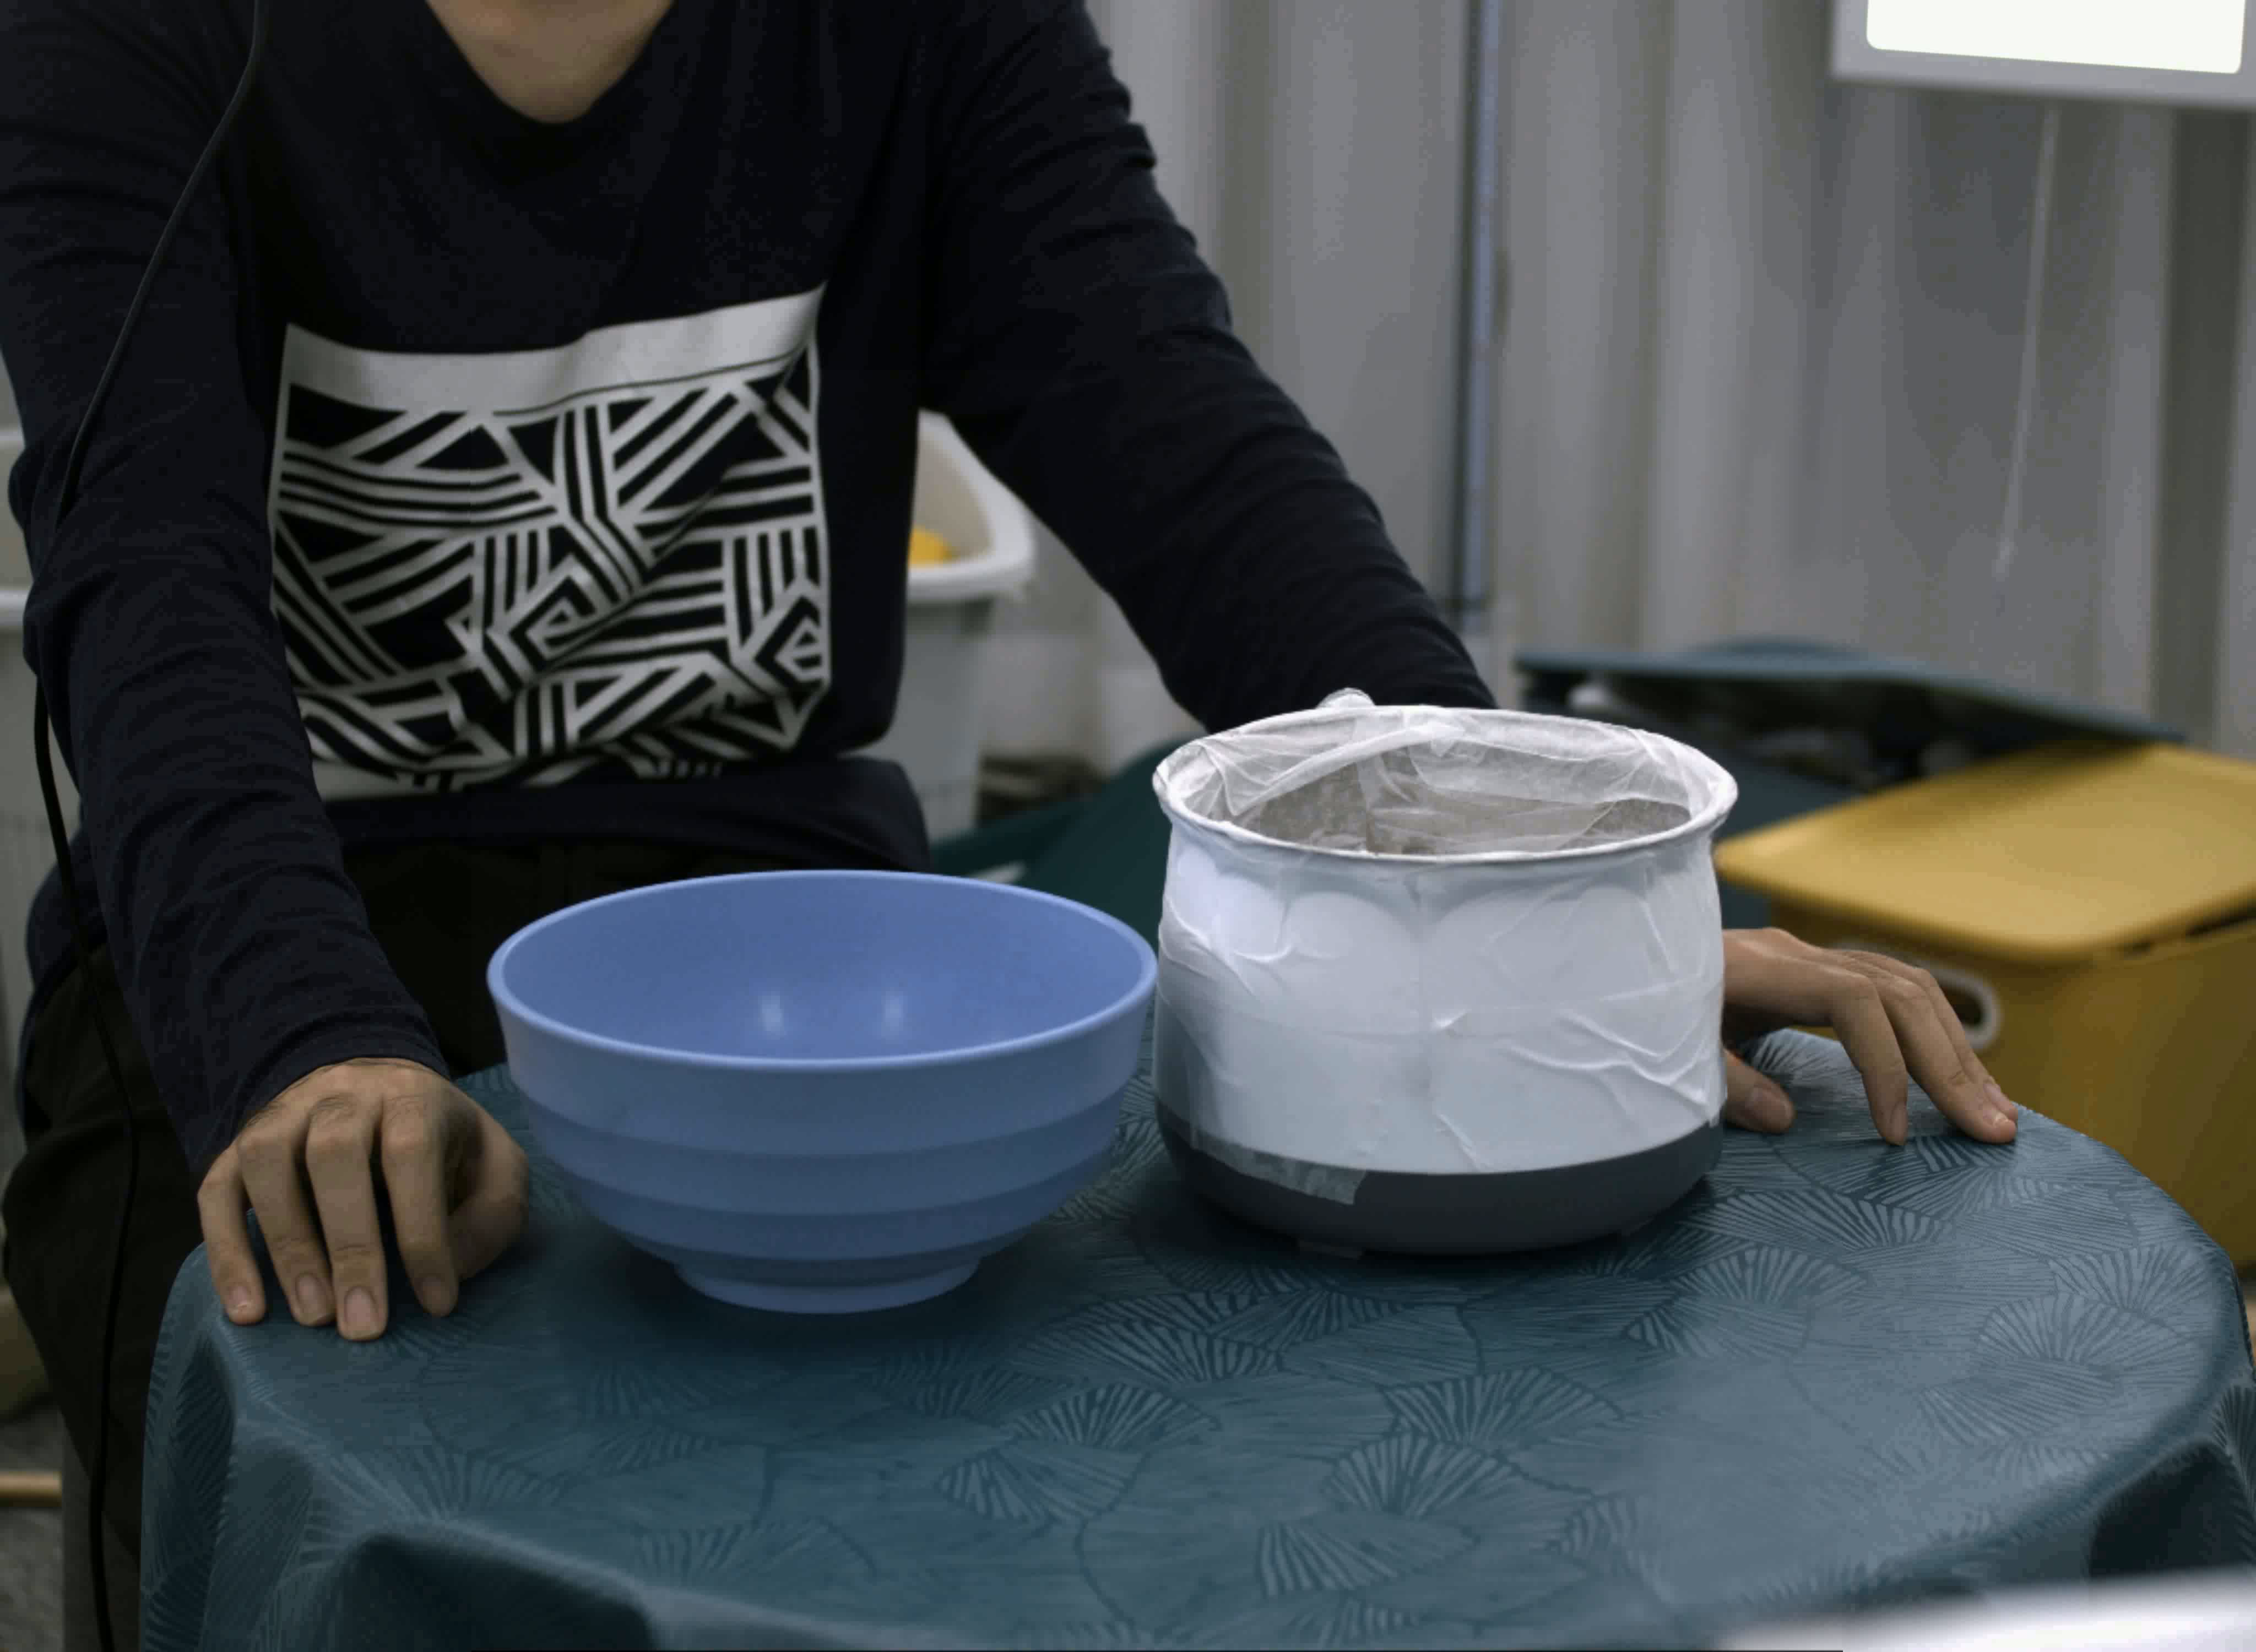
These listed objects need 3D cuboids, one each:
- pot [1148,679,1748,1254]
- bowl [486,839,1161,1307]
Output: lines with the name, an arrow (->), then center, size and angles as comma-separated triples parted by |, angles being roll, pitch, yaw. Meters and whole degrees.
pot -> 0.088, 0.038, 1.634 | 0.179, 0.137, 0.231 | -1, 16, -17
bowl -> -0.089, 0.079, 1.546 | 0.196, 0.096, 0.195 | 1, 20, 0
